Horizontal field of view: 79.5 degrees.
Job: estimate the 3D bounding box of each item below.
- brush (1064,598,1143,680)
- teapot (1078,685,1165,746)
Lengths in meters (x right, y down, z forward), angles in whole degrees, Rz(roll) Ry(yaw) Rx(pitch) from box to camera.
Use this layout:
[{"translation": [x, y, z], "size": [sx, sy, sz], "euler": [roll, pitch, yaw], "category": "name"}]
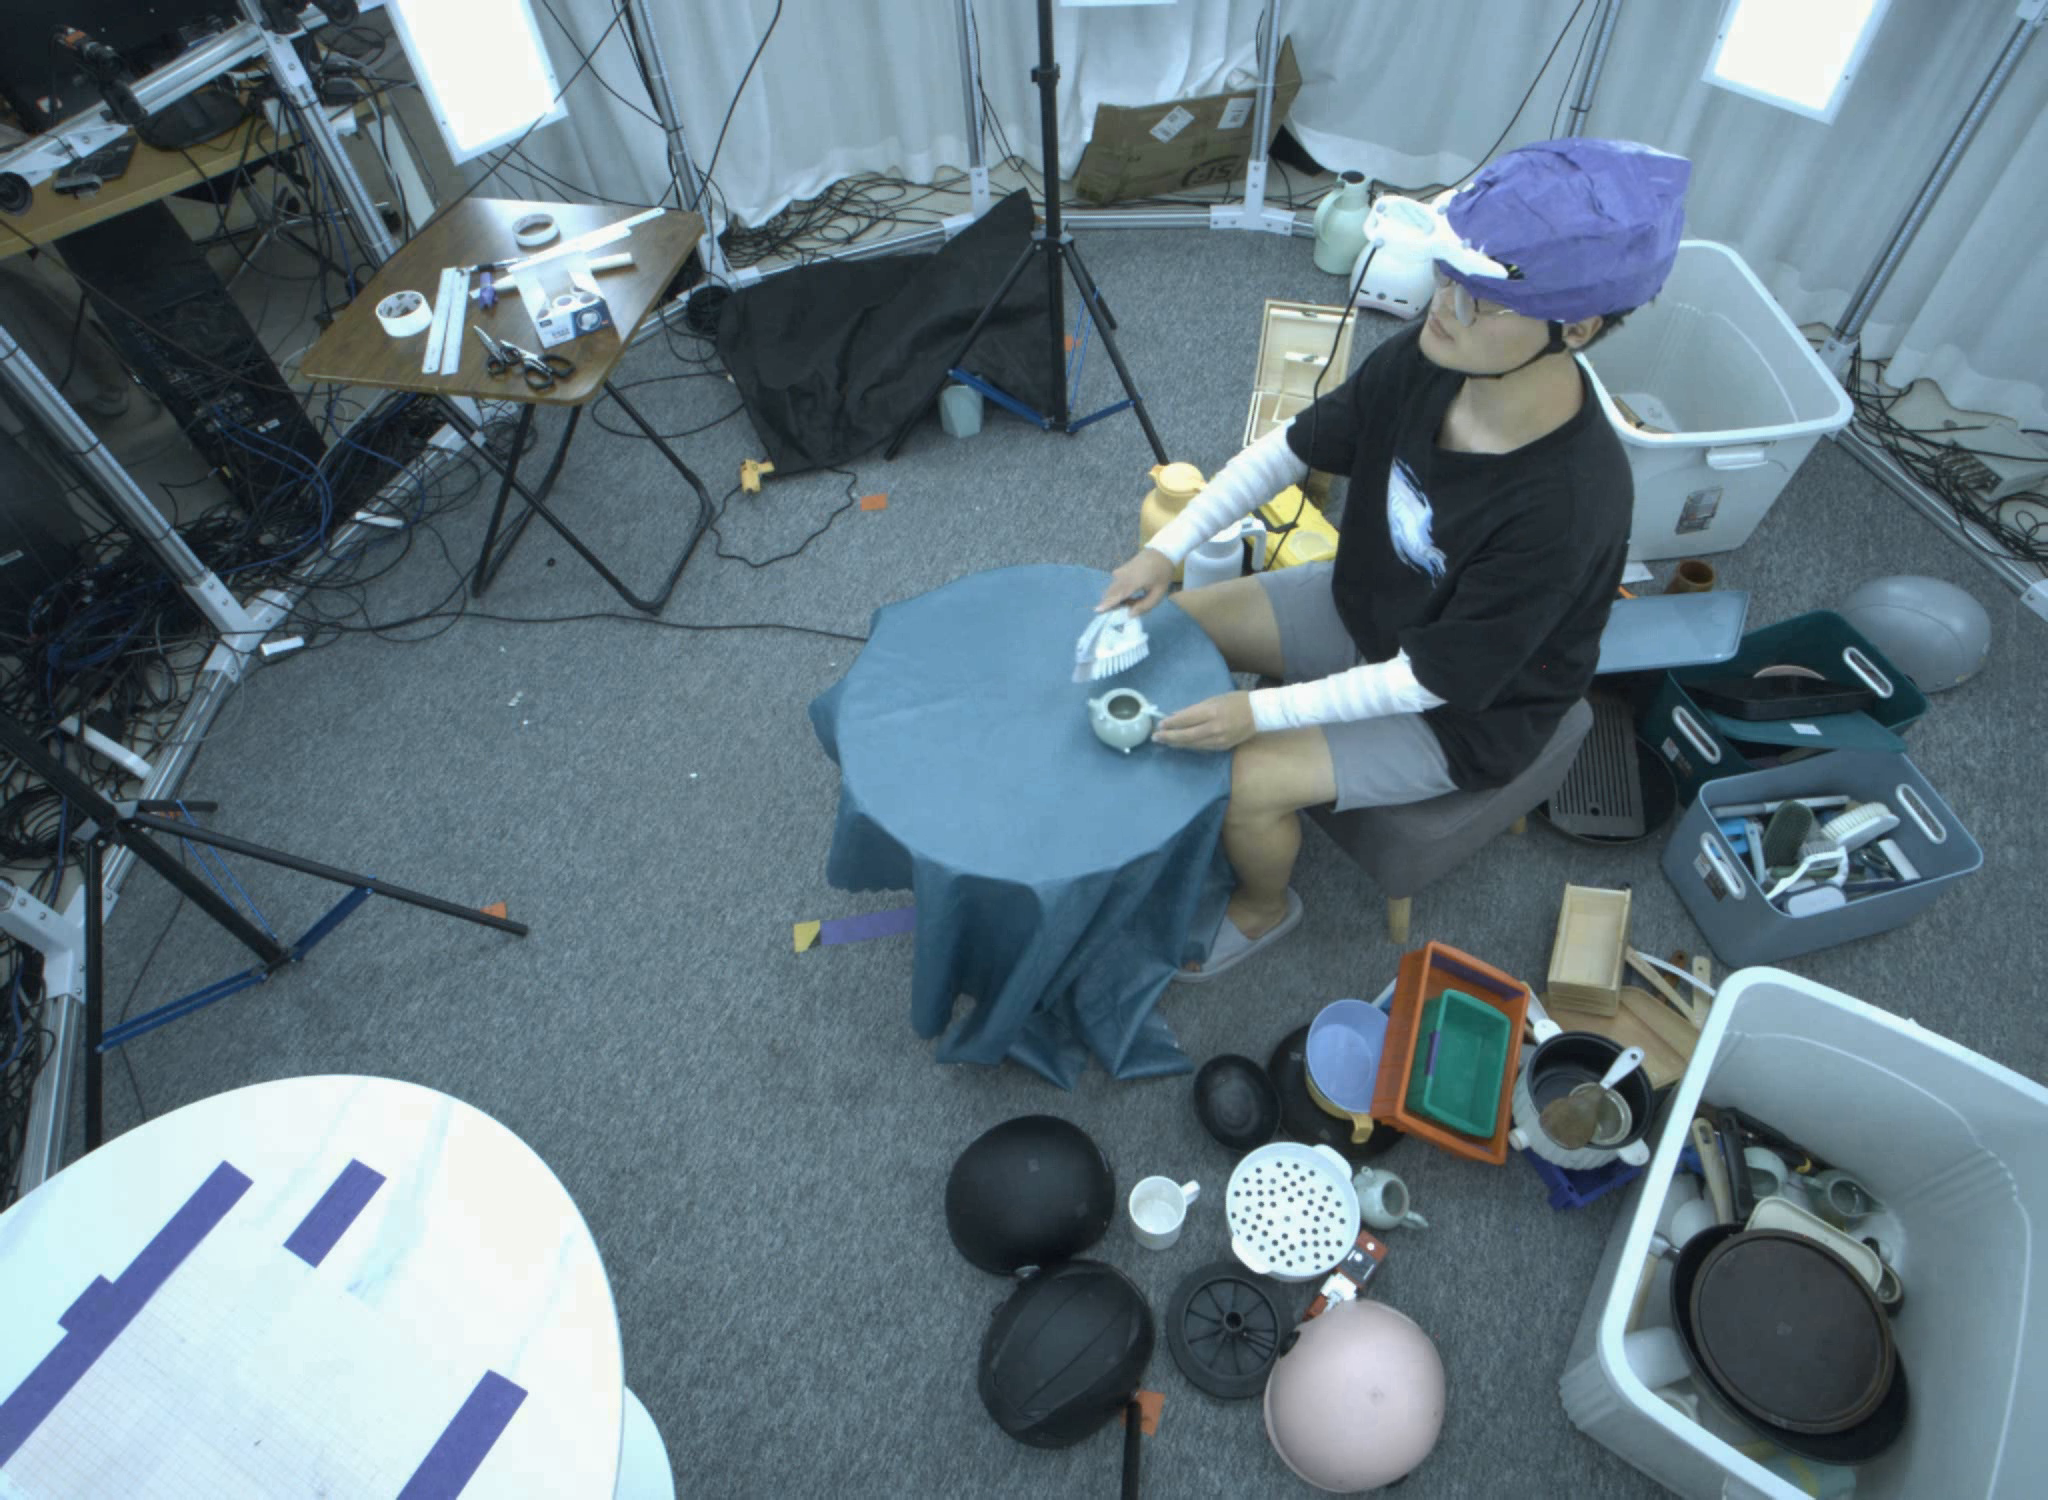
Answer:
[{"translation": [0.107, -0.165, 1.781], "size": [0.060, 0.095, 0.178], "euler": [10, 26, 34], "category": "brush"}, {"translation": [0.140, -0.047, 1.770], "size": [0.127, 0.061, 0.091], "euler": [14, 54, 12], "category": "teapot"}]
